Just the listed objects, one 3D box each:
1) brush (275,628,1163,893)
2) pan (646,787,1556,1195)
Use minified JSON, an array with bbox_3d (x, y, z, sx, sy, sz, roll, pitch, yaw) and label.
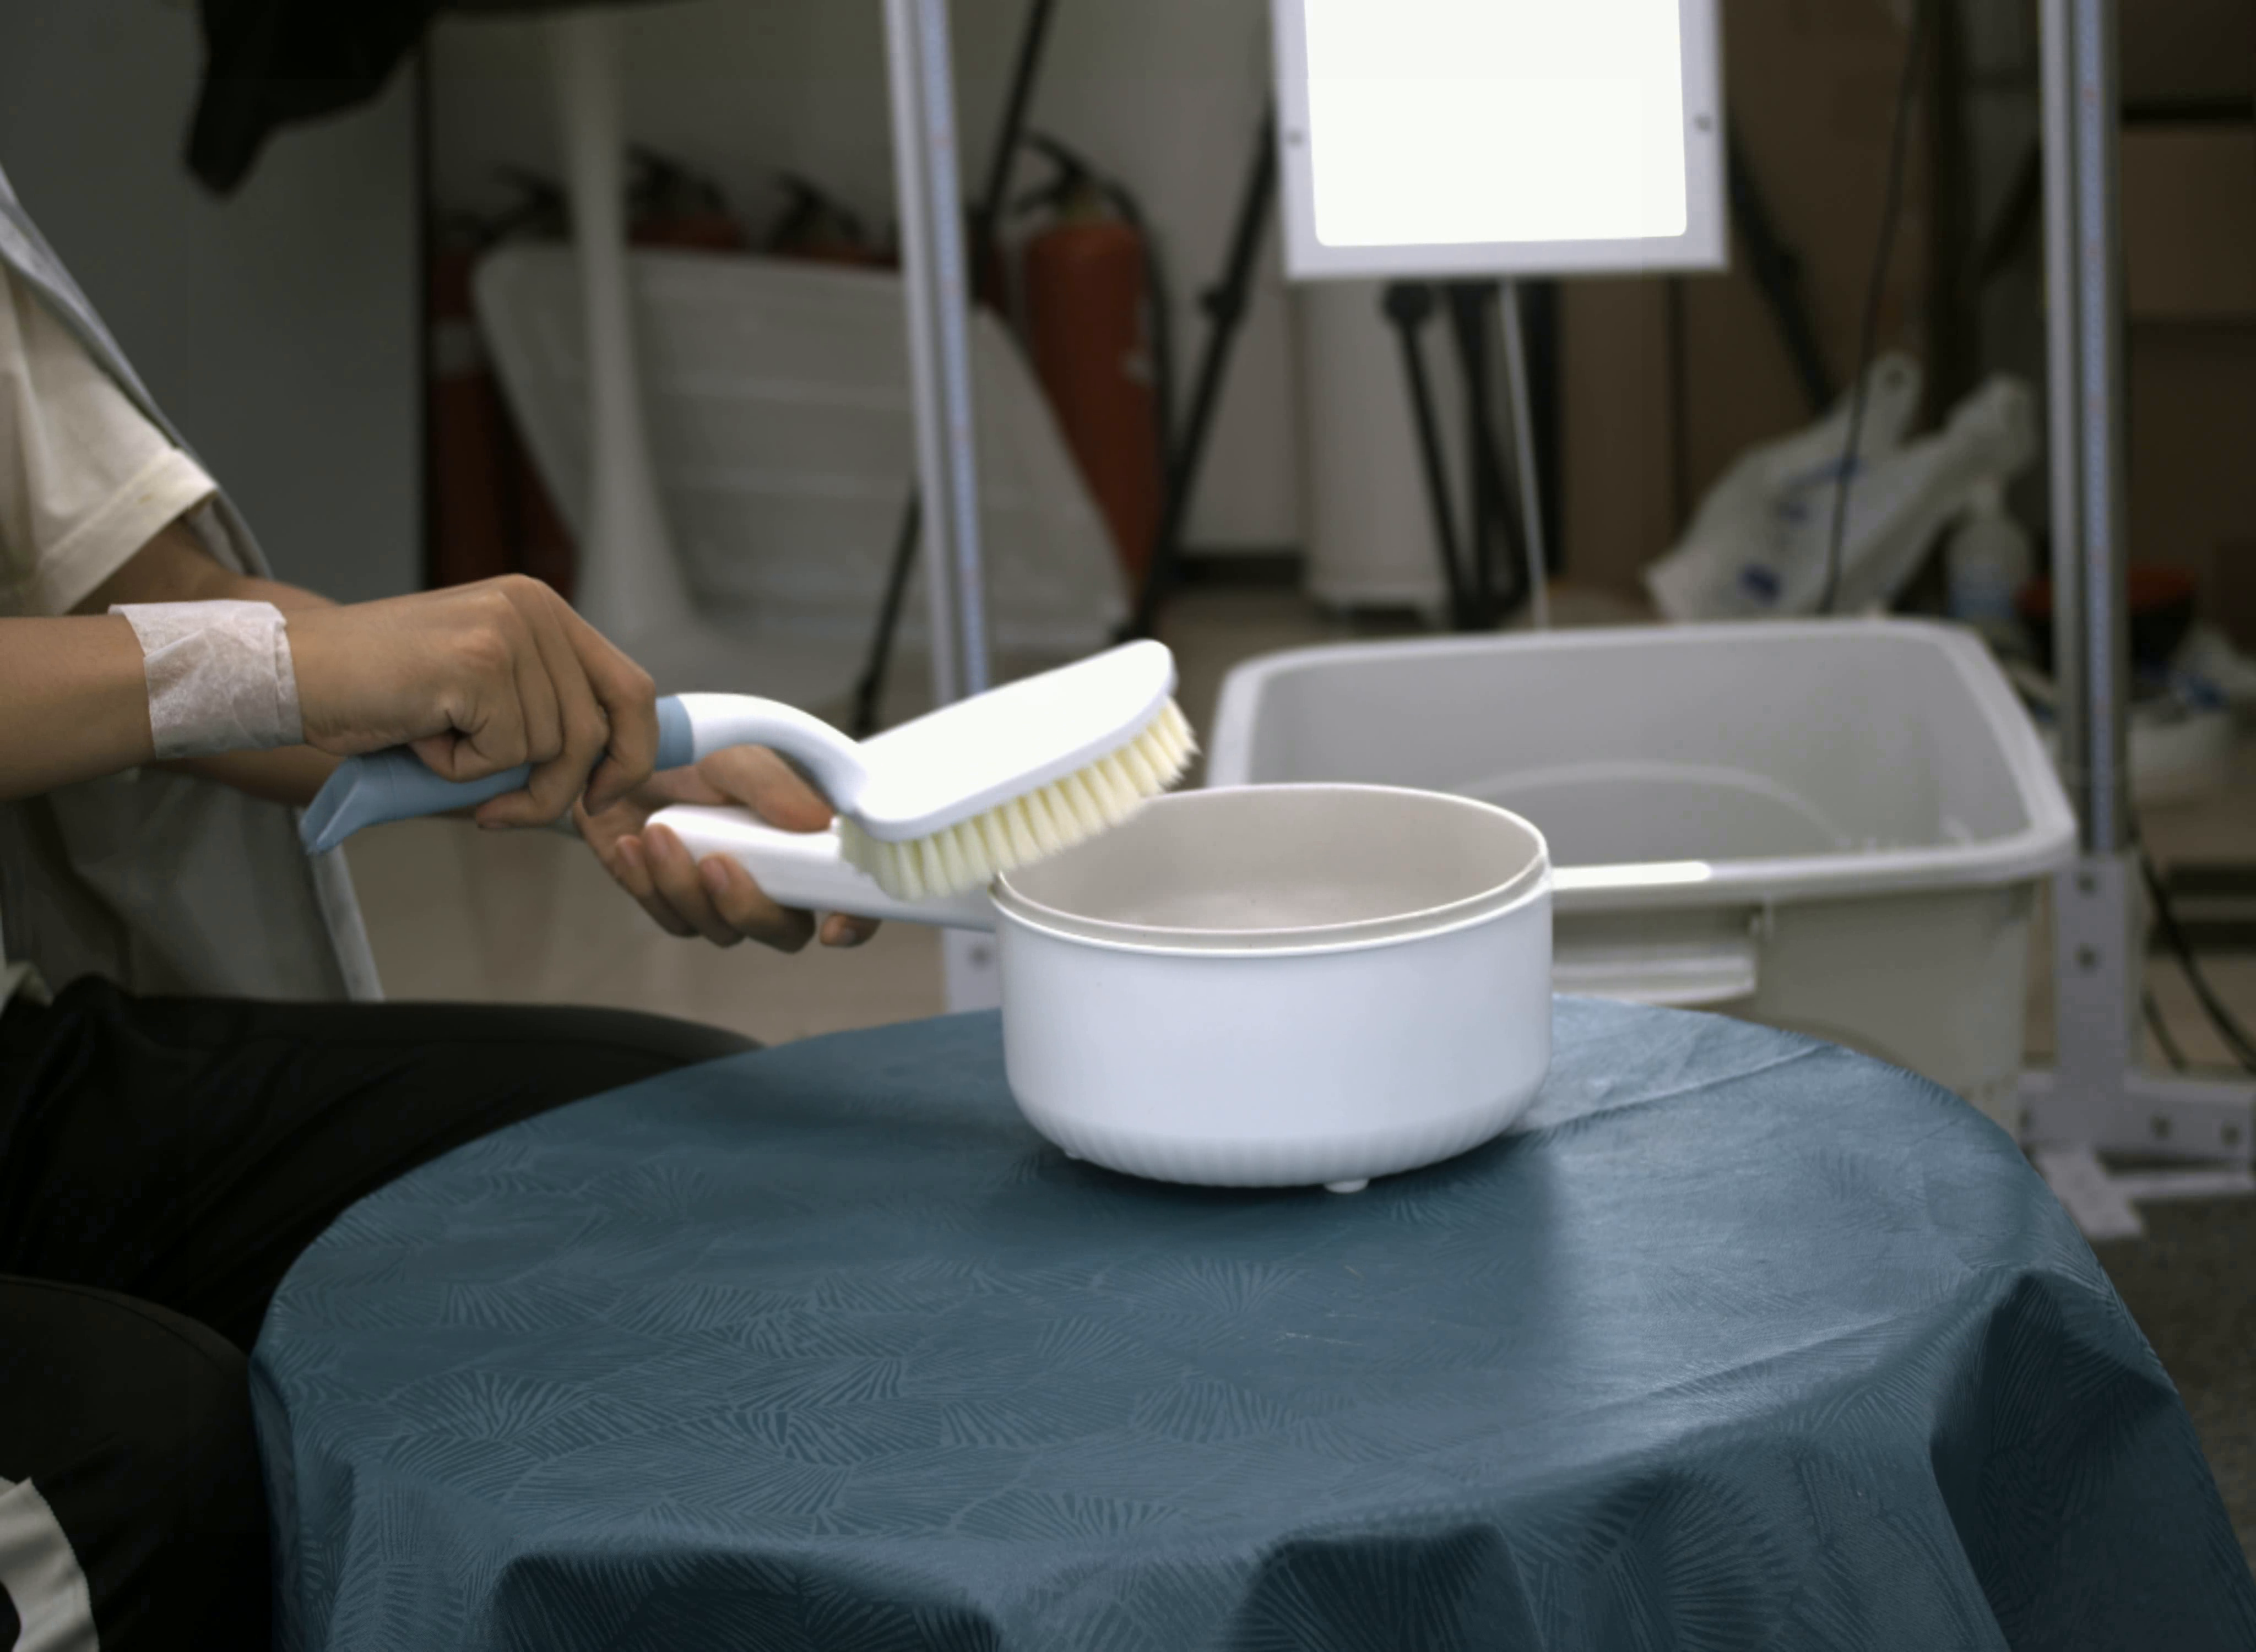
[{"bbox_3d":[-0.137,-0.003,1.897,0.319,0.085,0.084,-12,-13,-22],"label":"brush"},{"bbox_3d":[-0.015,0.054,1.974,0.361,0.102,0.196,5,17,30],"label":"pan"}]
